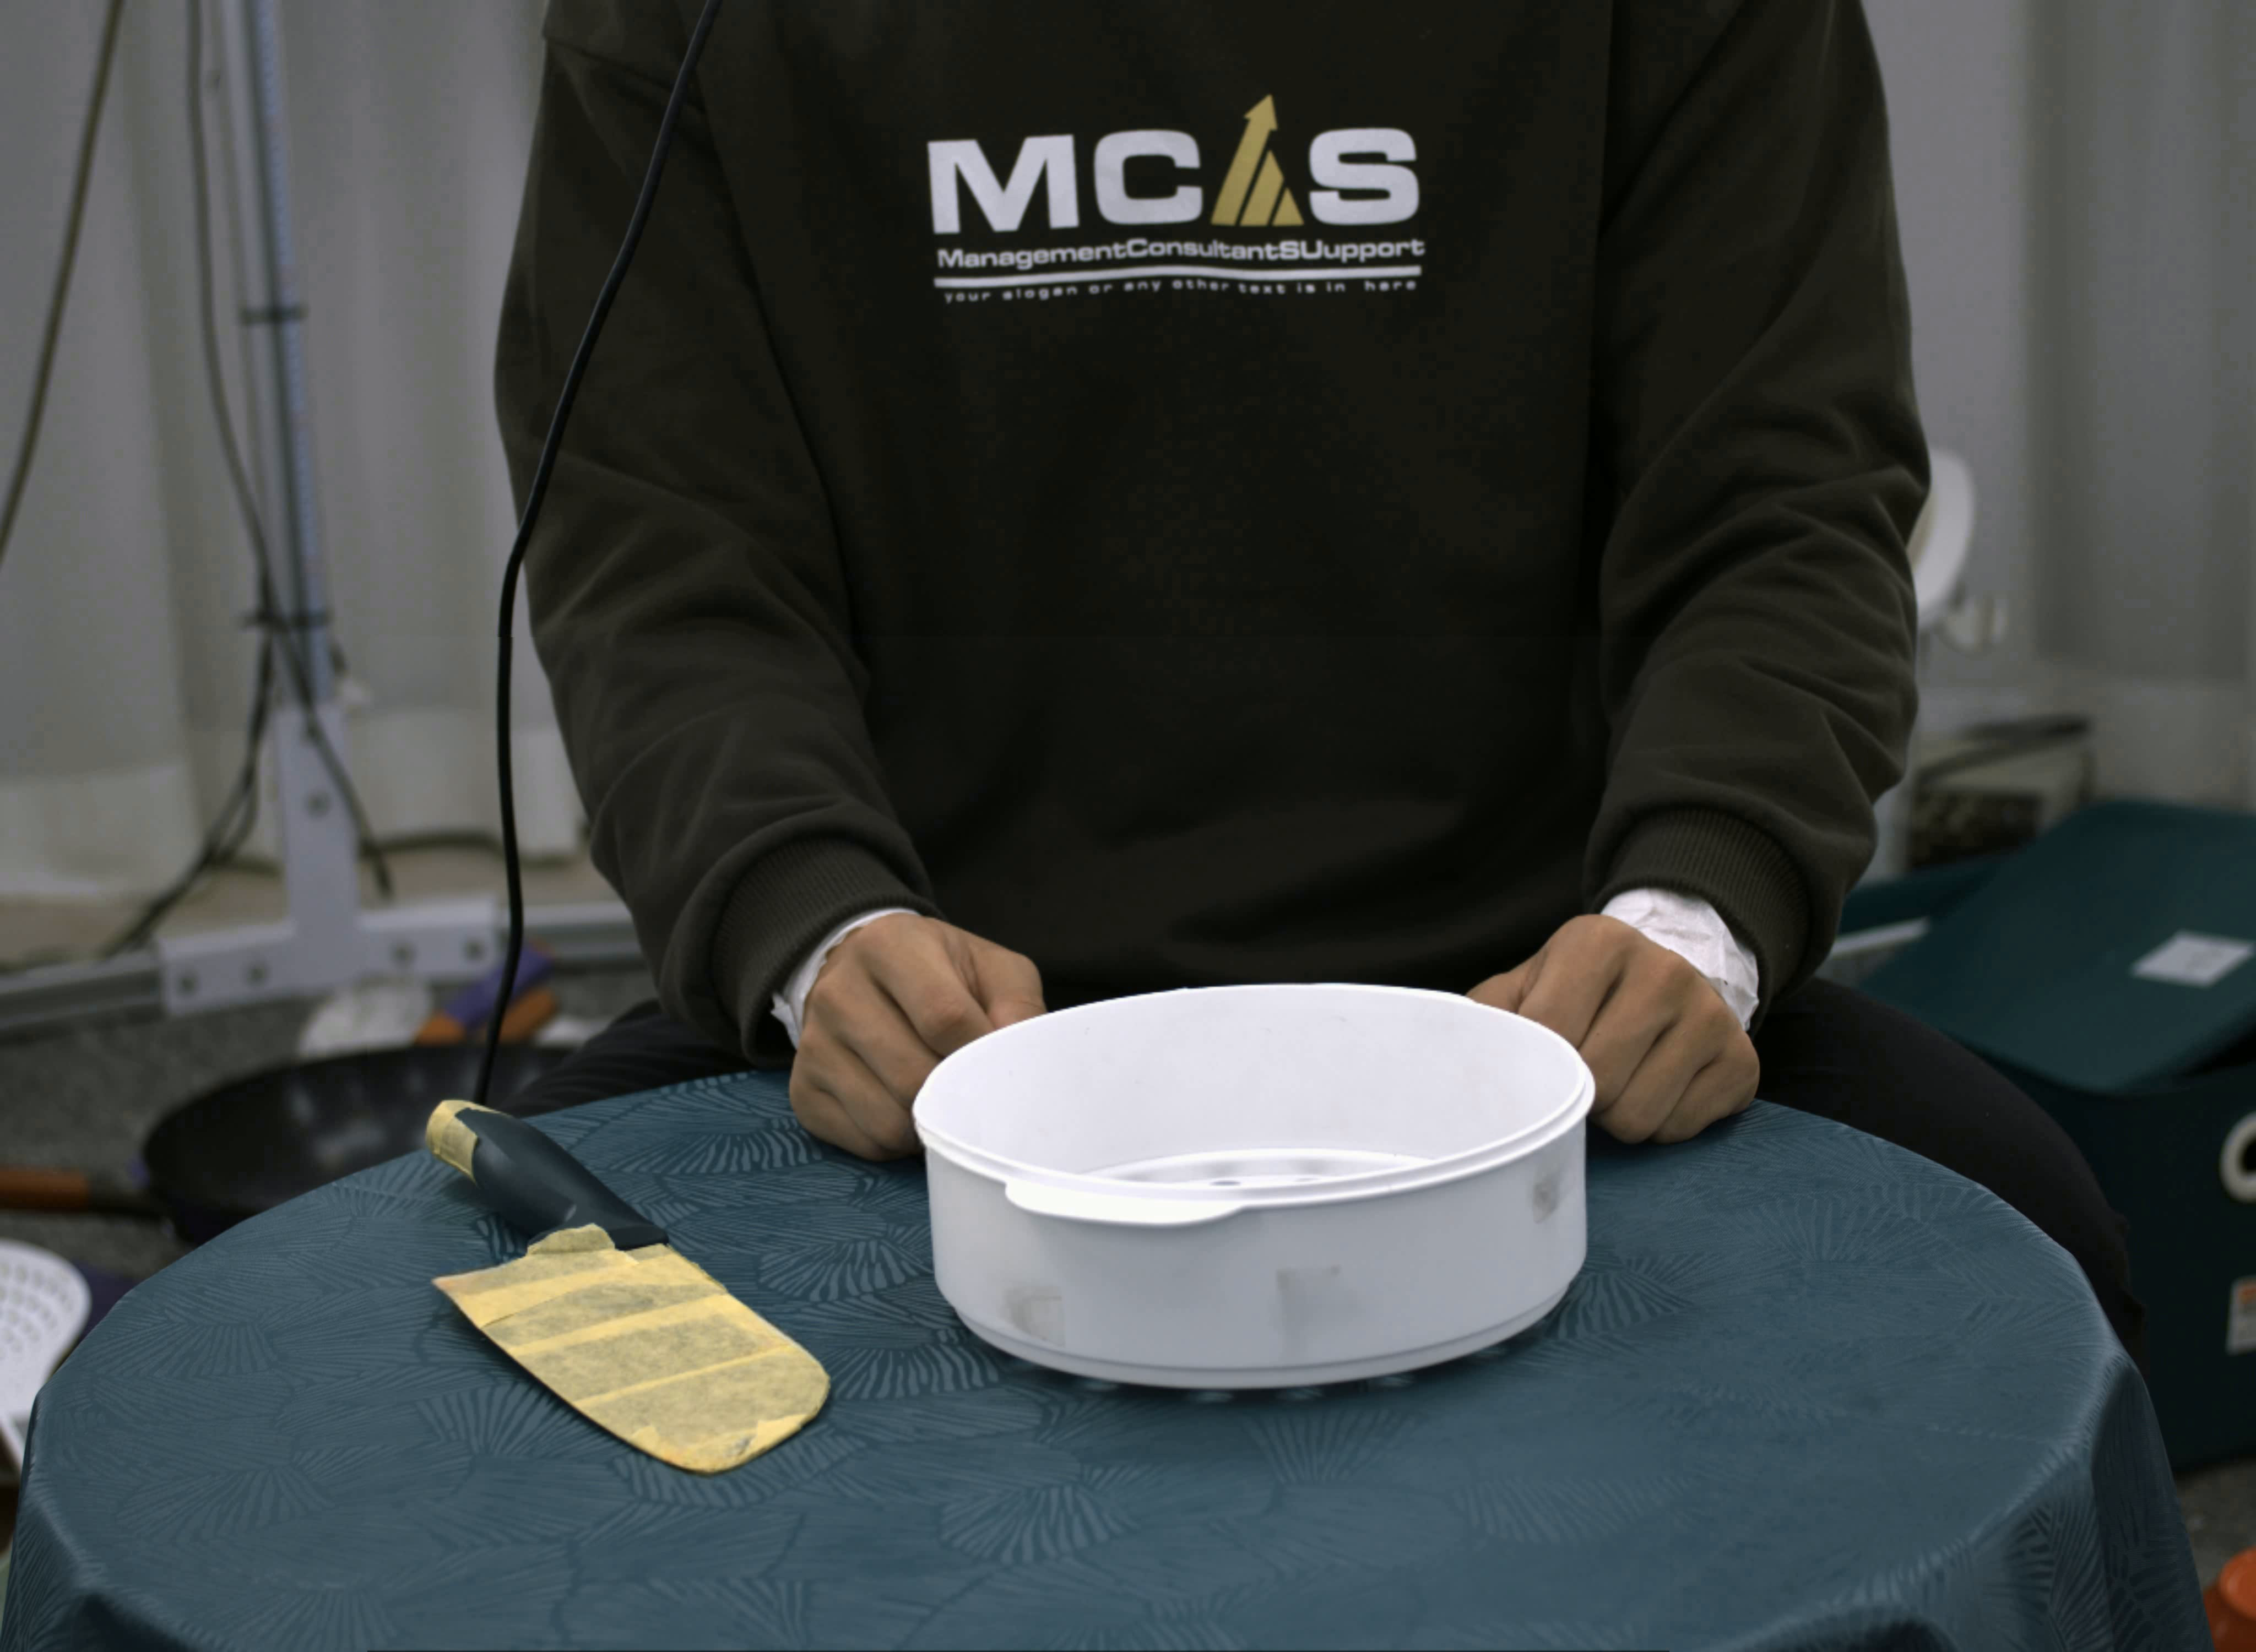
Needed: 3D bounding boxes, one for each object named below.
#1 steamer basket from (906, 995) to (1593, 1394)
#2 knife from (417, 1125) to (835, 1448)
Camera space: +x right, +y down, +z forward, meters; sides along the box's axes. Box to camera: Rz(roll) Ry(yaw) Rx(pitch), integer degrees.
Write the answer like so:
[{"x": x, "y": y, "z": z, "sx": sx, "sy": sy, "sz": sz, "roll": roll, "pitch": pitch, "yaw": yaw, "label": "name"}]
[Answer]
[{"x": 0.036, "y": 0.108, "z": 1.607, "sx": 0.202, "sy": 0.069, "sz": 0.231, "roll": 5, "pitch": 15, "yaw": 24, "label": "steamer basket"}, {"x": -0.165, "y": 0.138, "z": 1.632, "sx": 0.080, "sy": 0.027, "sz": 0.292, "roll": -8, "pitch": 16, "yaw": -25, "label": "knife"}]
